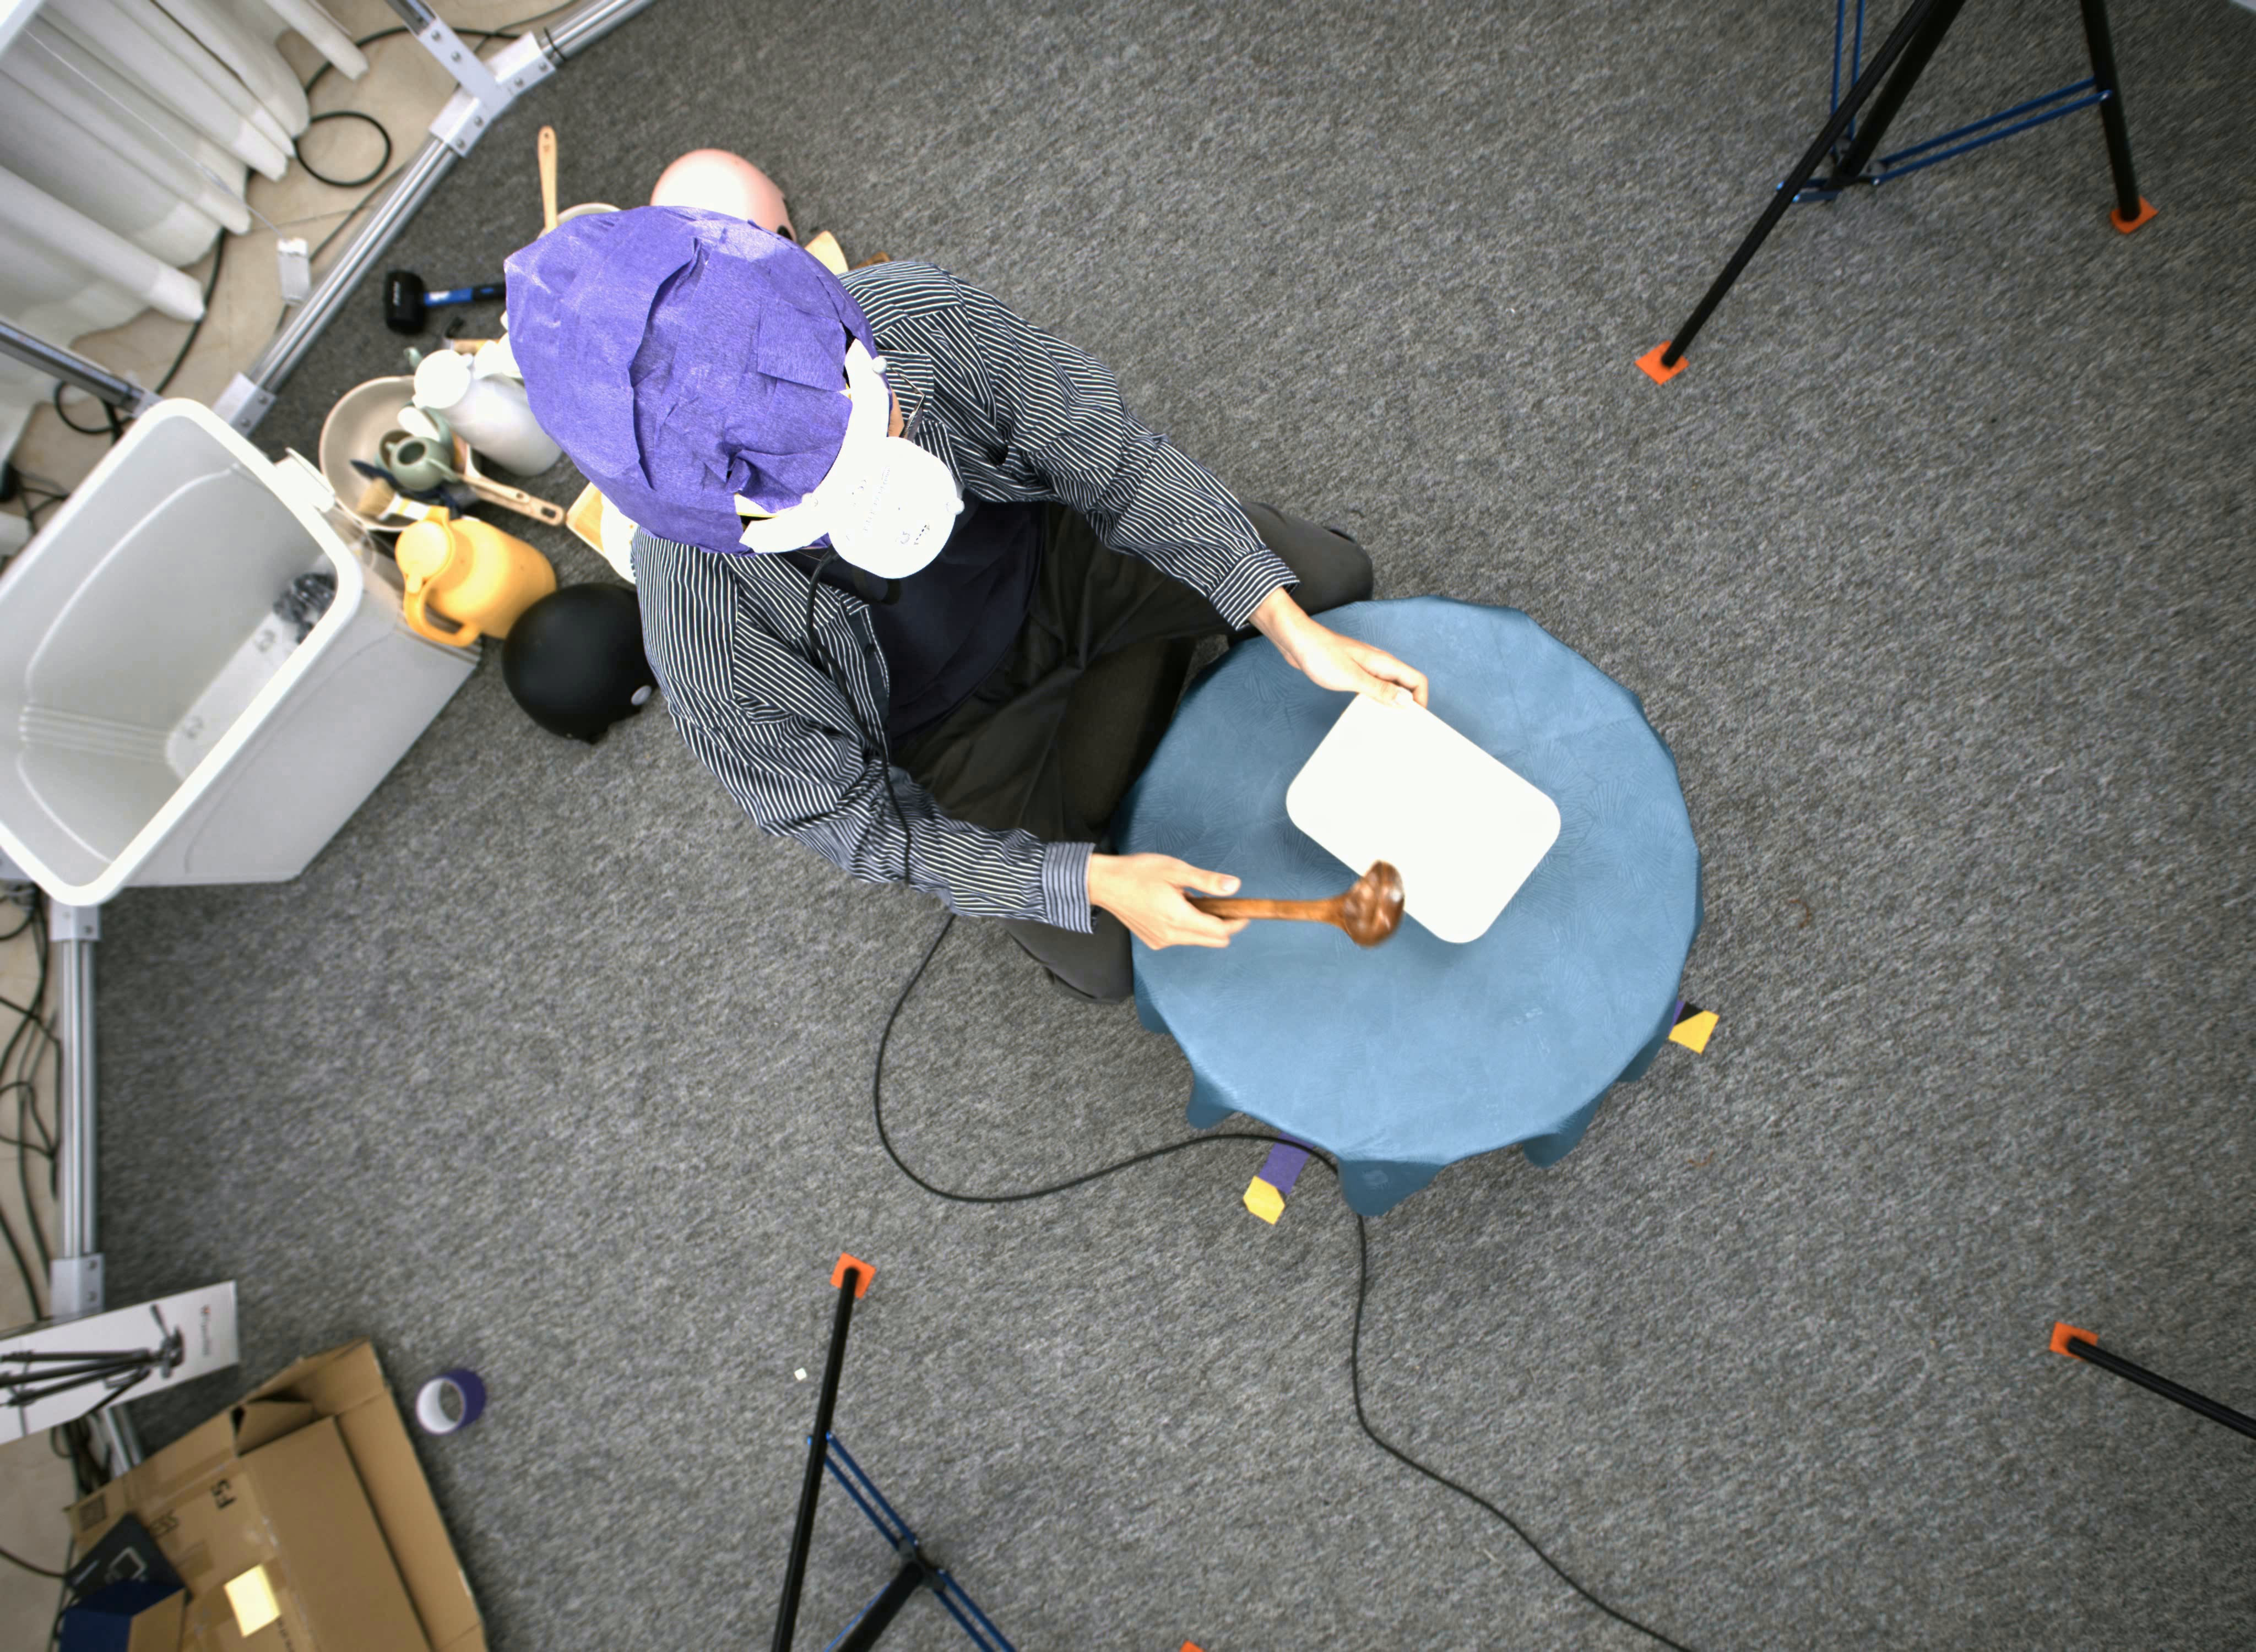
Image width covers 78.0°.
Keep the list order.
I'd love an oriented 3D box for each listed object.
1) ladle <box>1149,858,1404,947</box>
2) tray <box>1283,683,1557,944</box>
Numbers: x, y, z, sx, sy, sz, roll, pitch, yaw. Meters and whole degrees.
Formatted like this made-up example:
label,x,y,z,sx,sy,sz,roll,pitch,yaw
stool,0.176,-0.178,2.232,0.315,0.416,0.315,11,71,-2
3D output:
label,x,y,z,sx,sy,sz,roll,pitch,yaw
ladle,0.127,0.068,1.285,0.276,0.077,0.080,1,64,30
tray,0.282,-0.014,1.344,0.238,0.017,0.173,40,107,14
